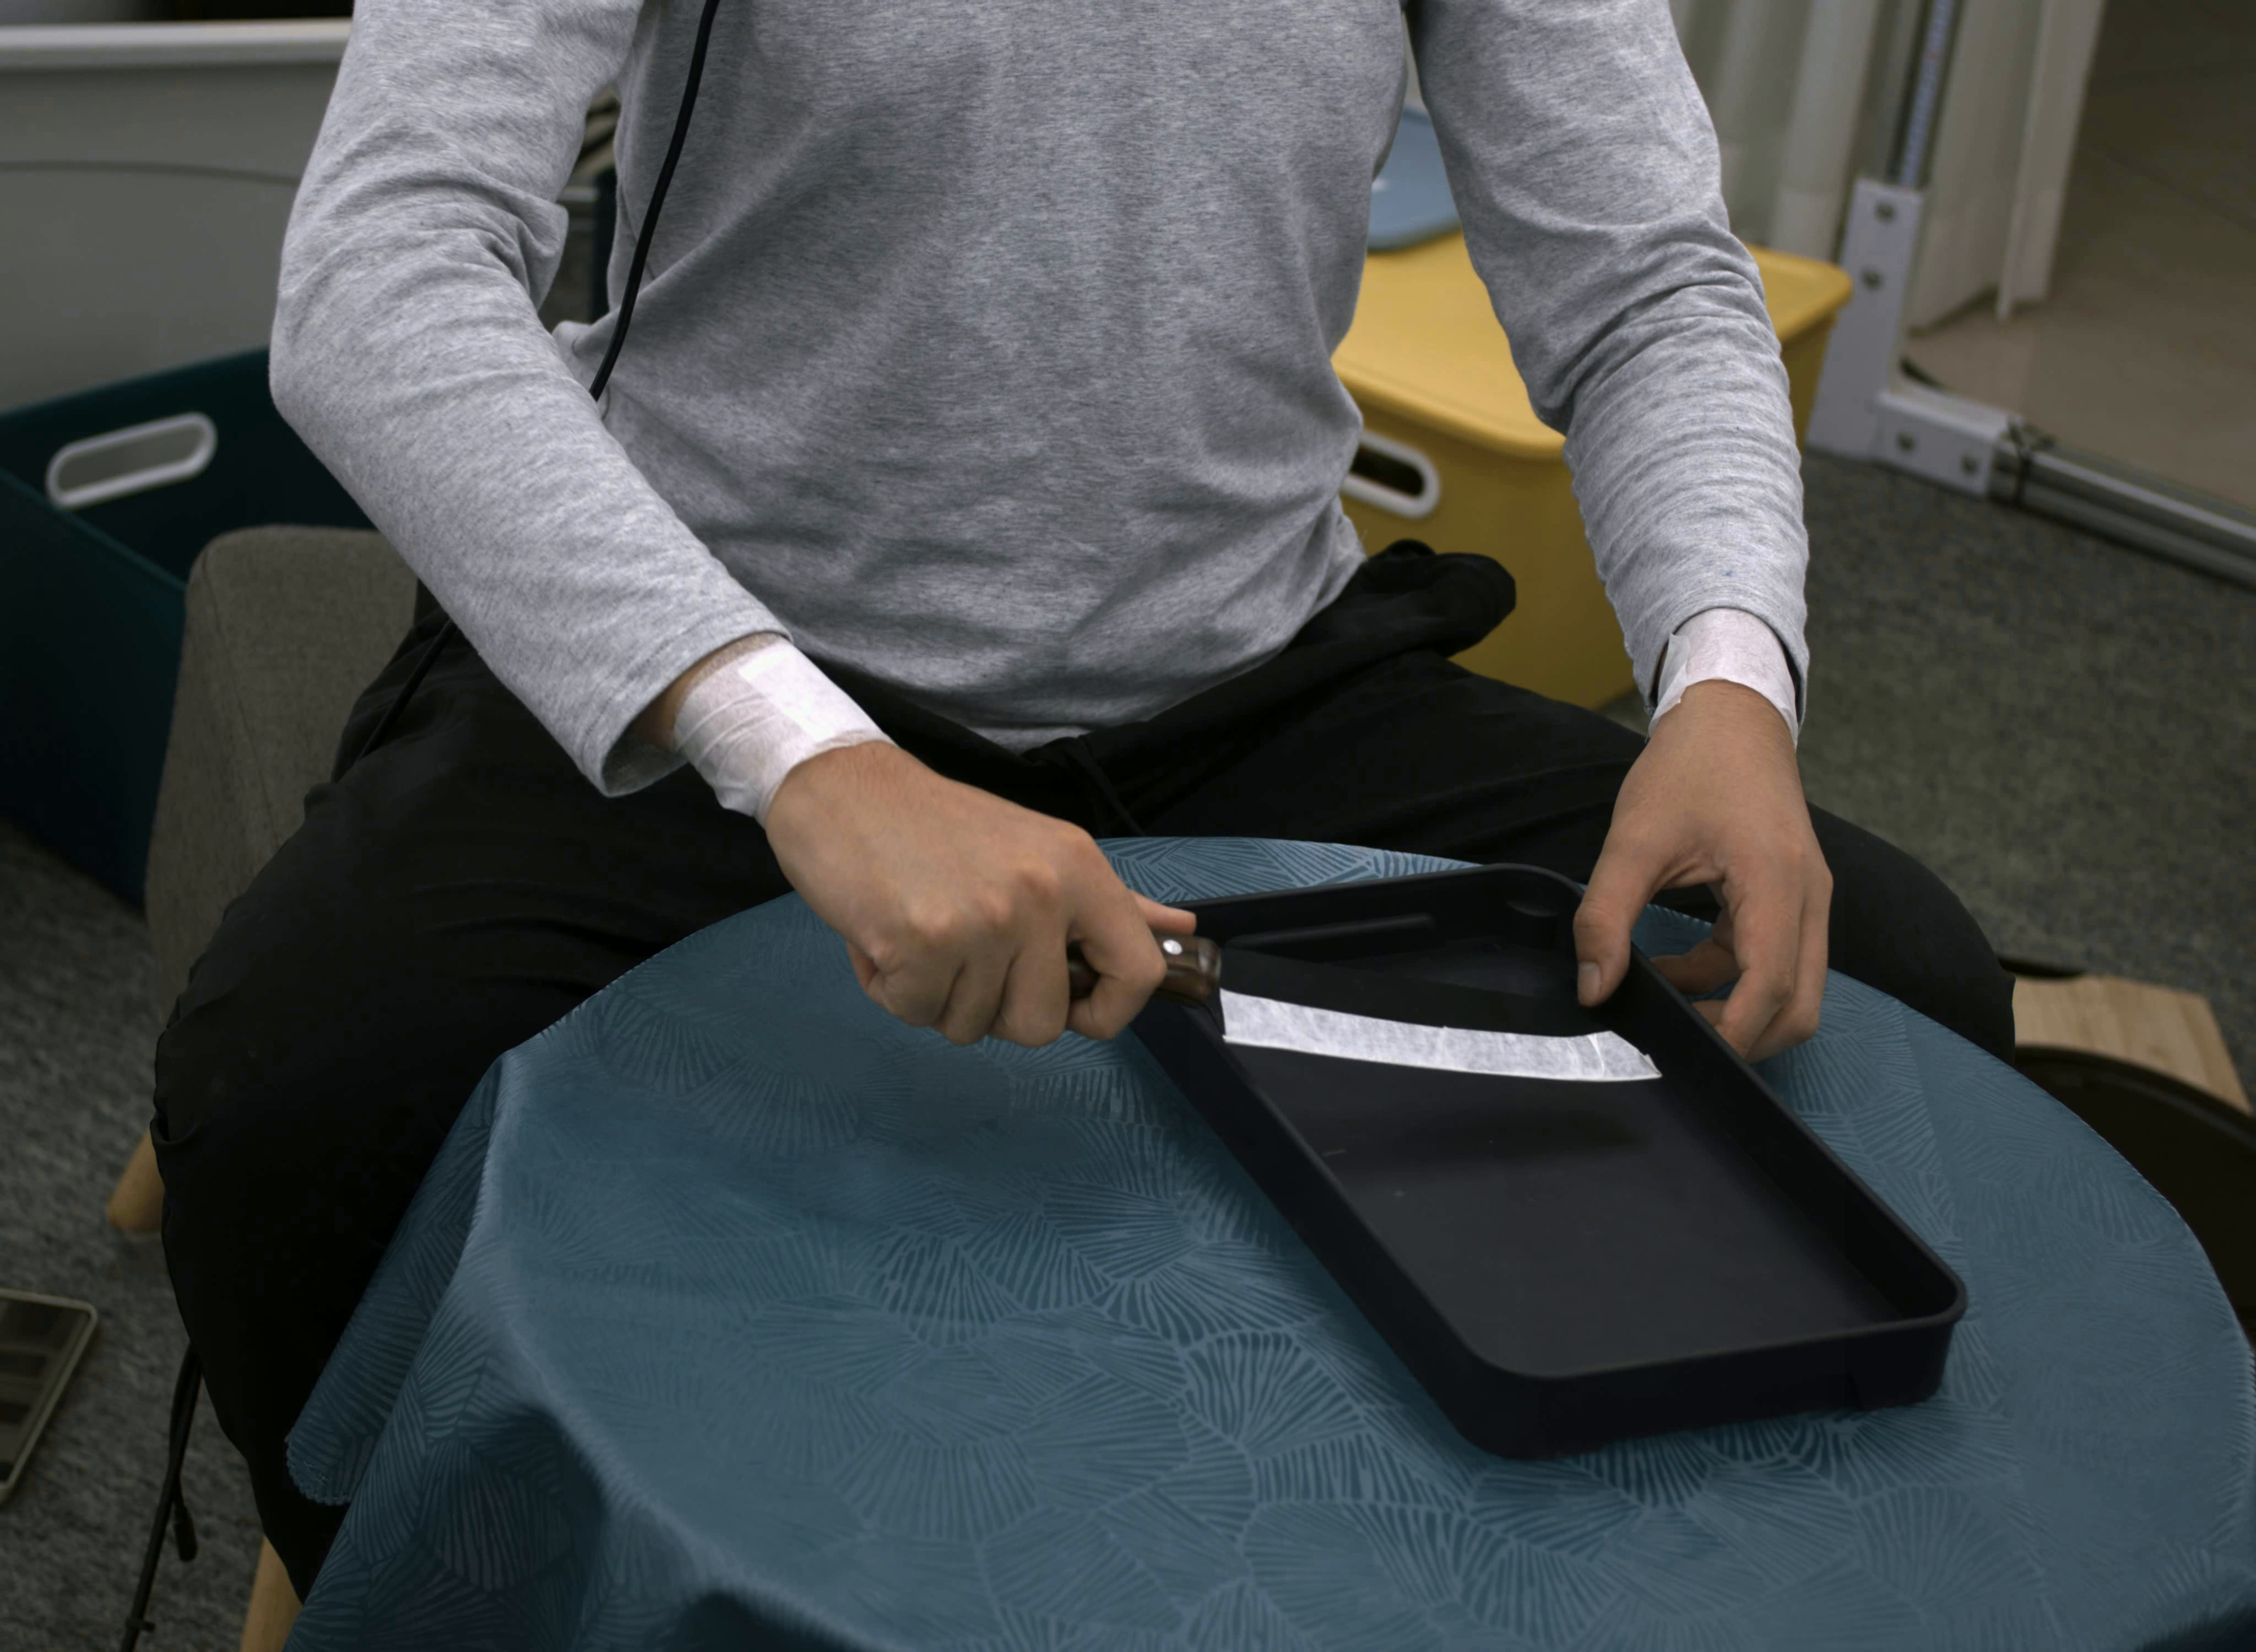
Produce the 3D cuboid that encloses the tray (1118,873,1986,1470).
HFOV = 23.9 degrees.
[{"bbox_3d":[0.137,0.111,1.822,0.183,0.037,0.321,-7,29,-24],"label":"tray"}]

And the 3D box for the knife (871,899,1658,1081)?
[{"bbox_3d":[0.050,0.059,1.832,0.287,0.020,0.050,10,43,-16],"label":"knife"}]
